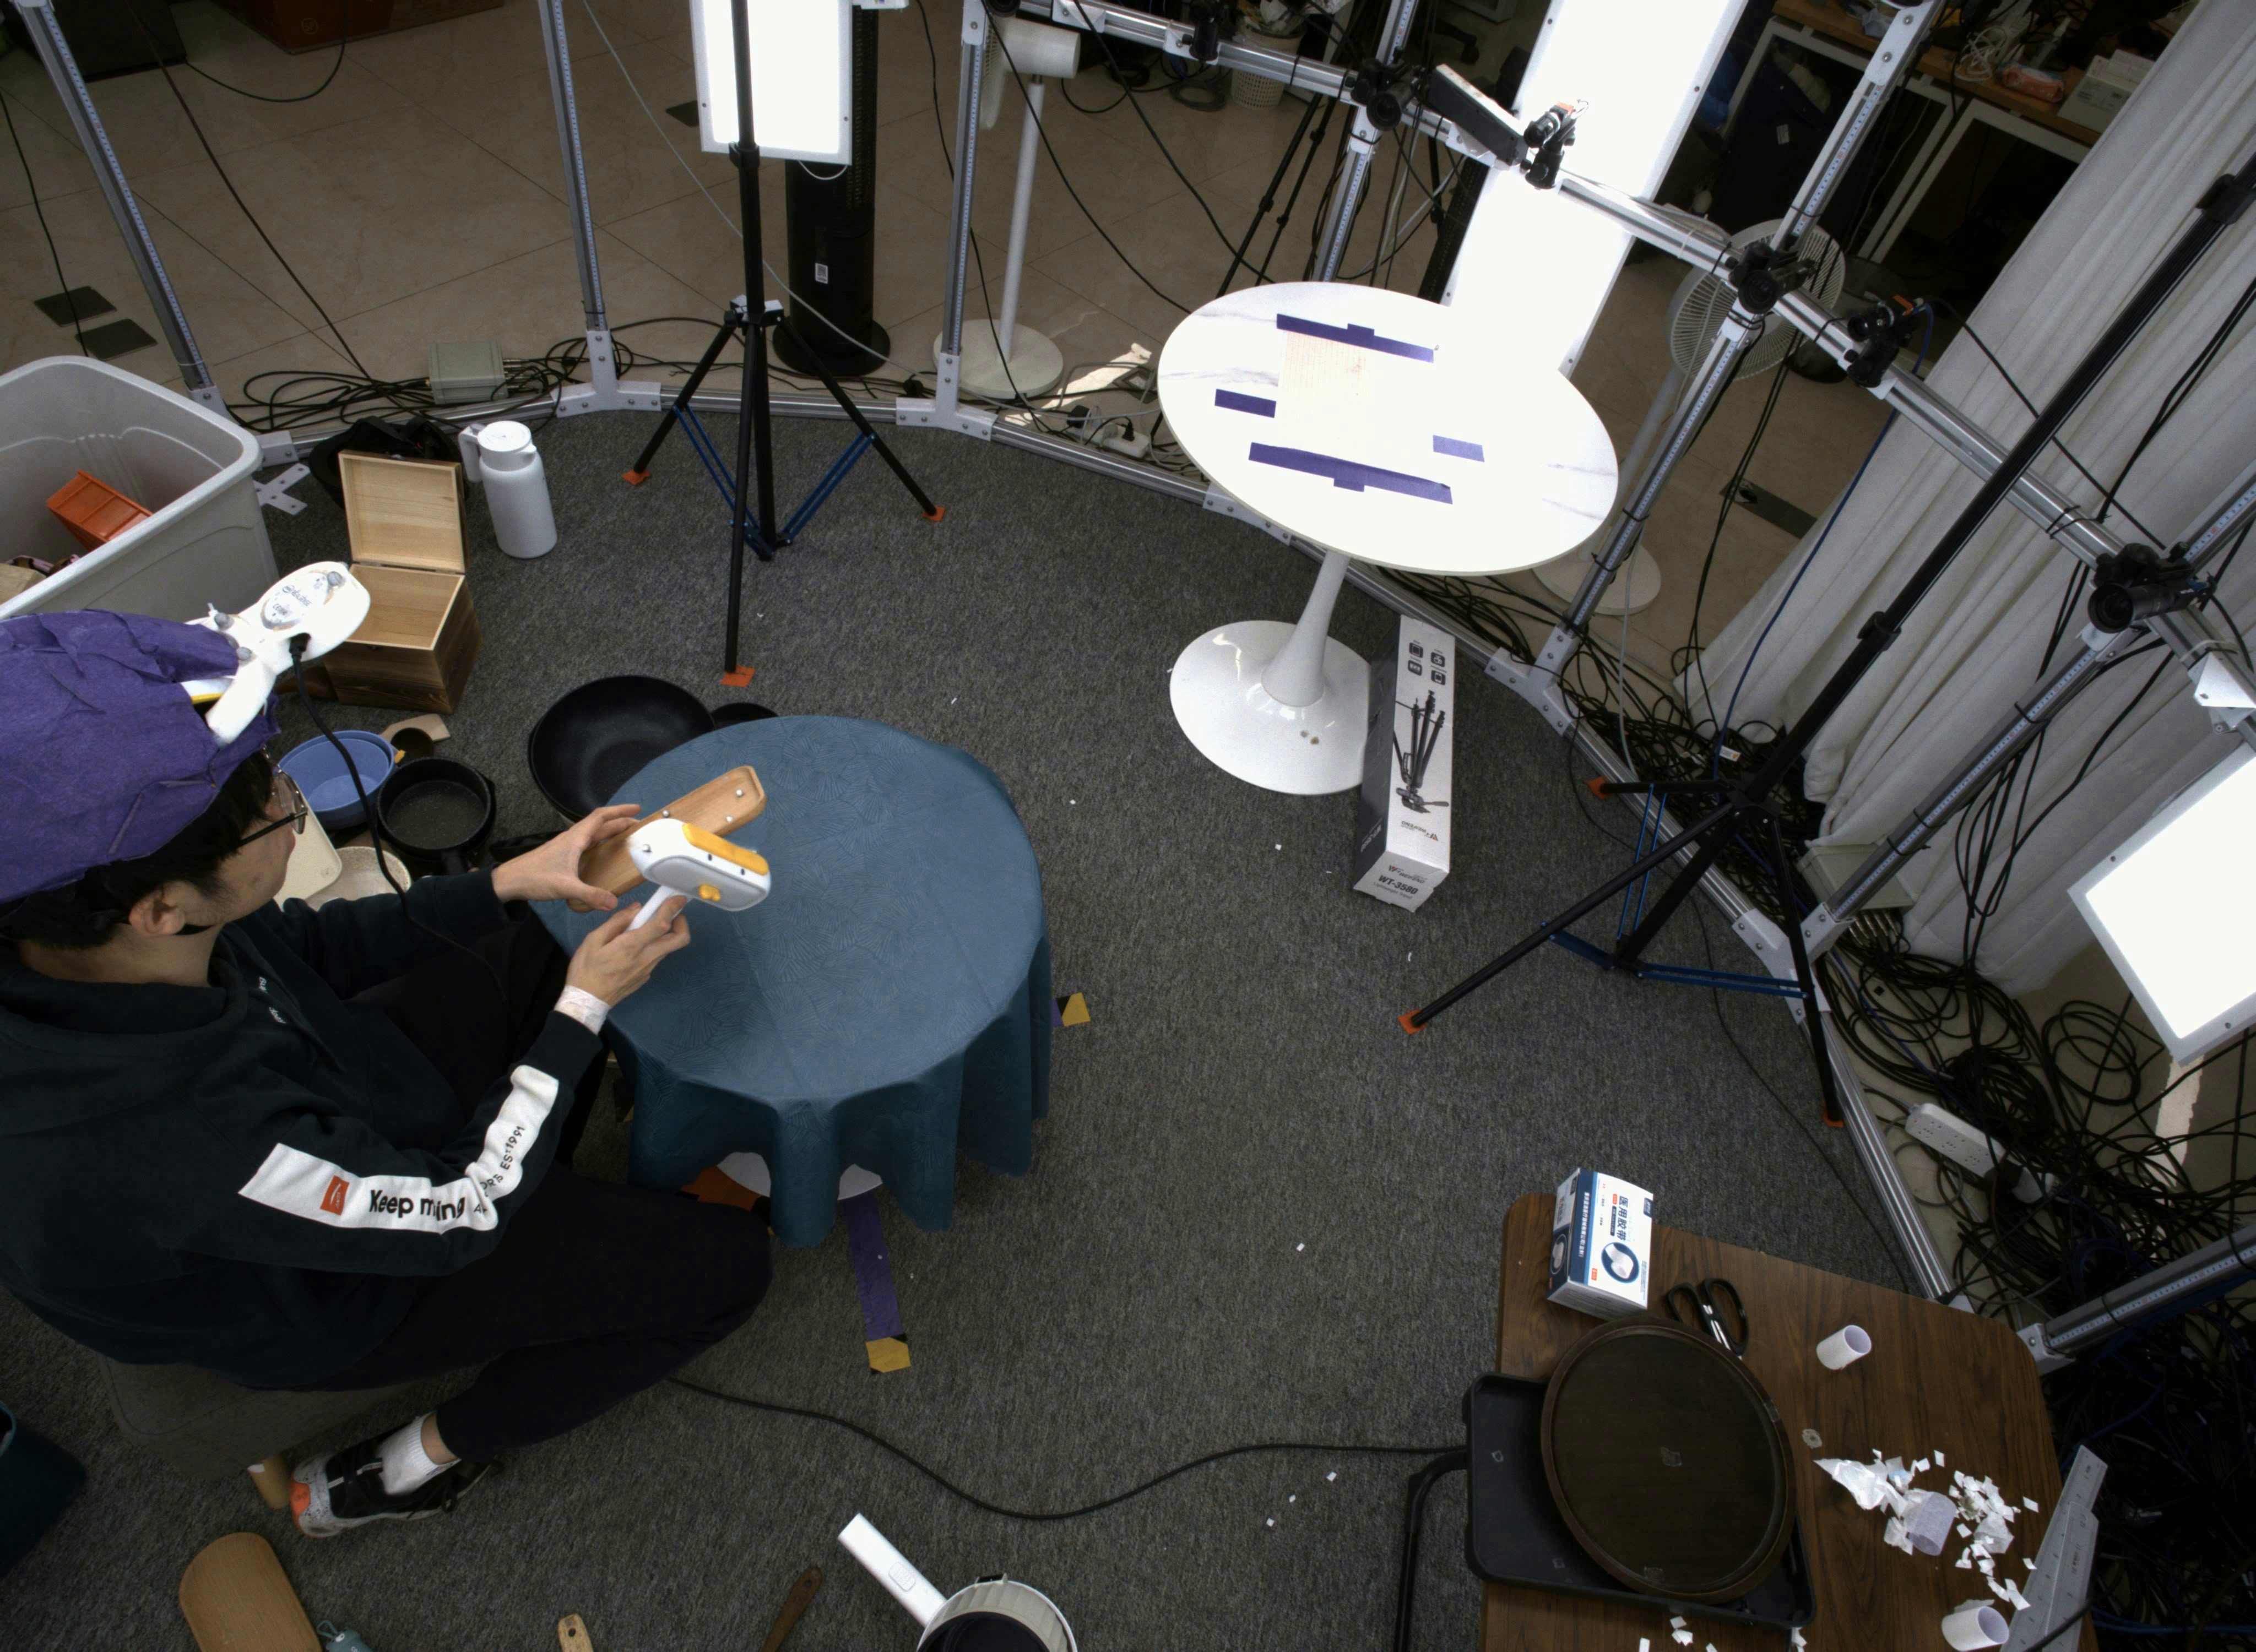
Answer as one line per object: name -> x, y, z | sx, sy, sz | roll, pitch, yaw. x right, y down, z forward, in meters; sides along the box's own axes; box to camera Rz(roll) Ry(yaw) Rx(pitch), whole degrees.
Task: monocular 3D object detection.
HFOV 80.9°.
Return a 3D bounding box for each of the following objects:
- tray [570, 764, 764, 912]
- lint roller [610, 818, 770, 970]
tray -> -0.534, 0.011, 1.475 | 0.250, 0.024, 0.126 | -31, 31, -10
lint roller -> -0.511, 0.079, 1.421 | 0.191, 0.197, 0.073 | -37, 68, 12
